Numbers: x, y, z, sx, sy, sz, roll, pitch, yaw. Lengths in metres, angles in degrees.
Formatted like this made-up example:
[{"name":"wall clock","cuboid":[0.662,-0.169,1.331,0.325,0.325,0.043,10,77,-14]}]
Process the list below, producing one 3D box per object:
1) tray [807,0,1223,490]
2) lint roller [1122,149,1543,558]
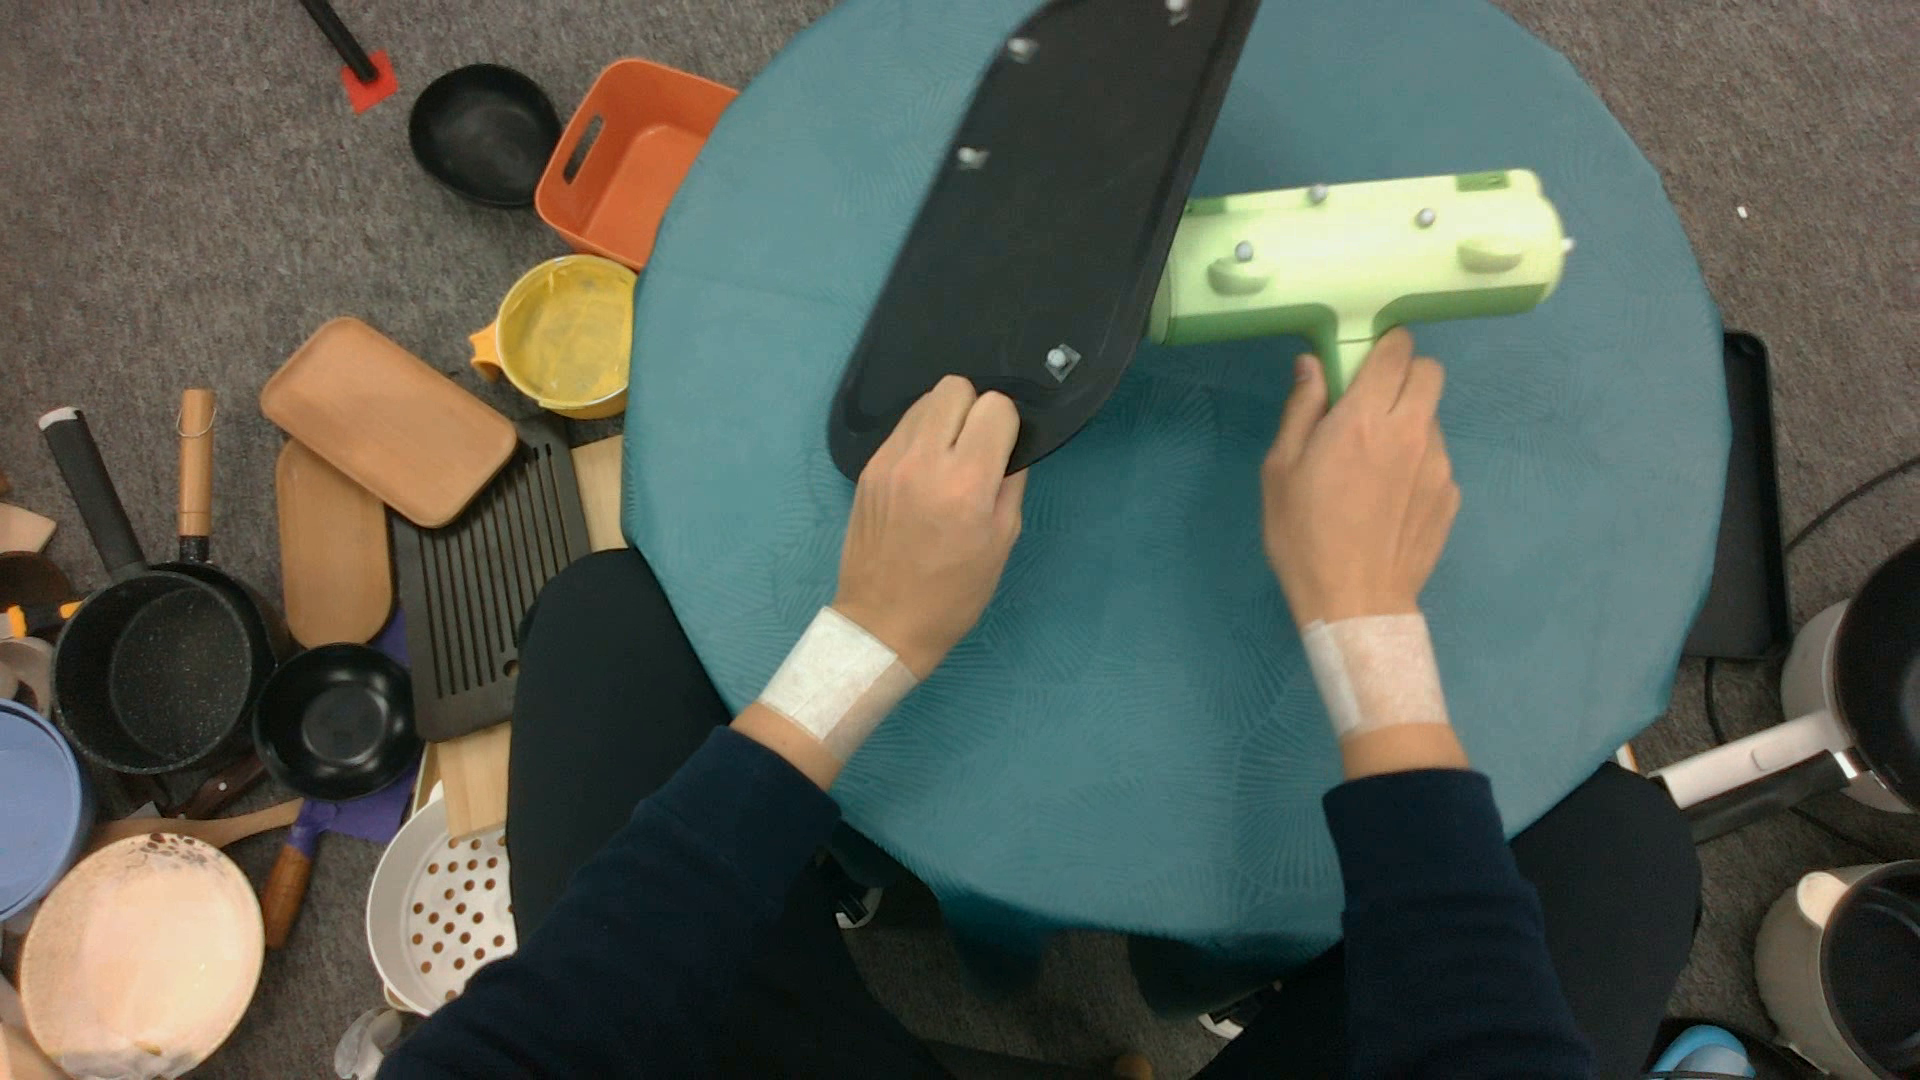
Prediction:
[{"name":"tray","cuboid":[0.023,-0.171,0.675,0.010,0.210,0.326,33,66,-37]},{"name":"lint roller","cuboid":[0.182,-0.086,0.642,0.198,0.082,0.183,-7,81,-3]}]
